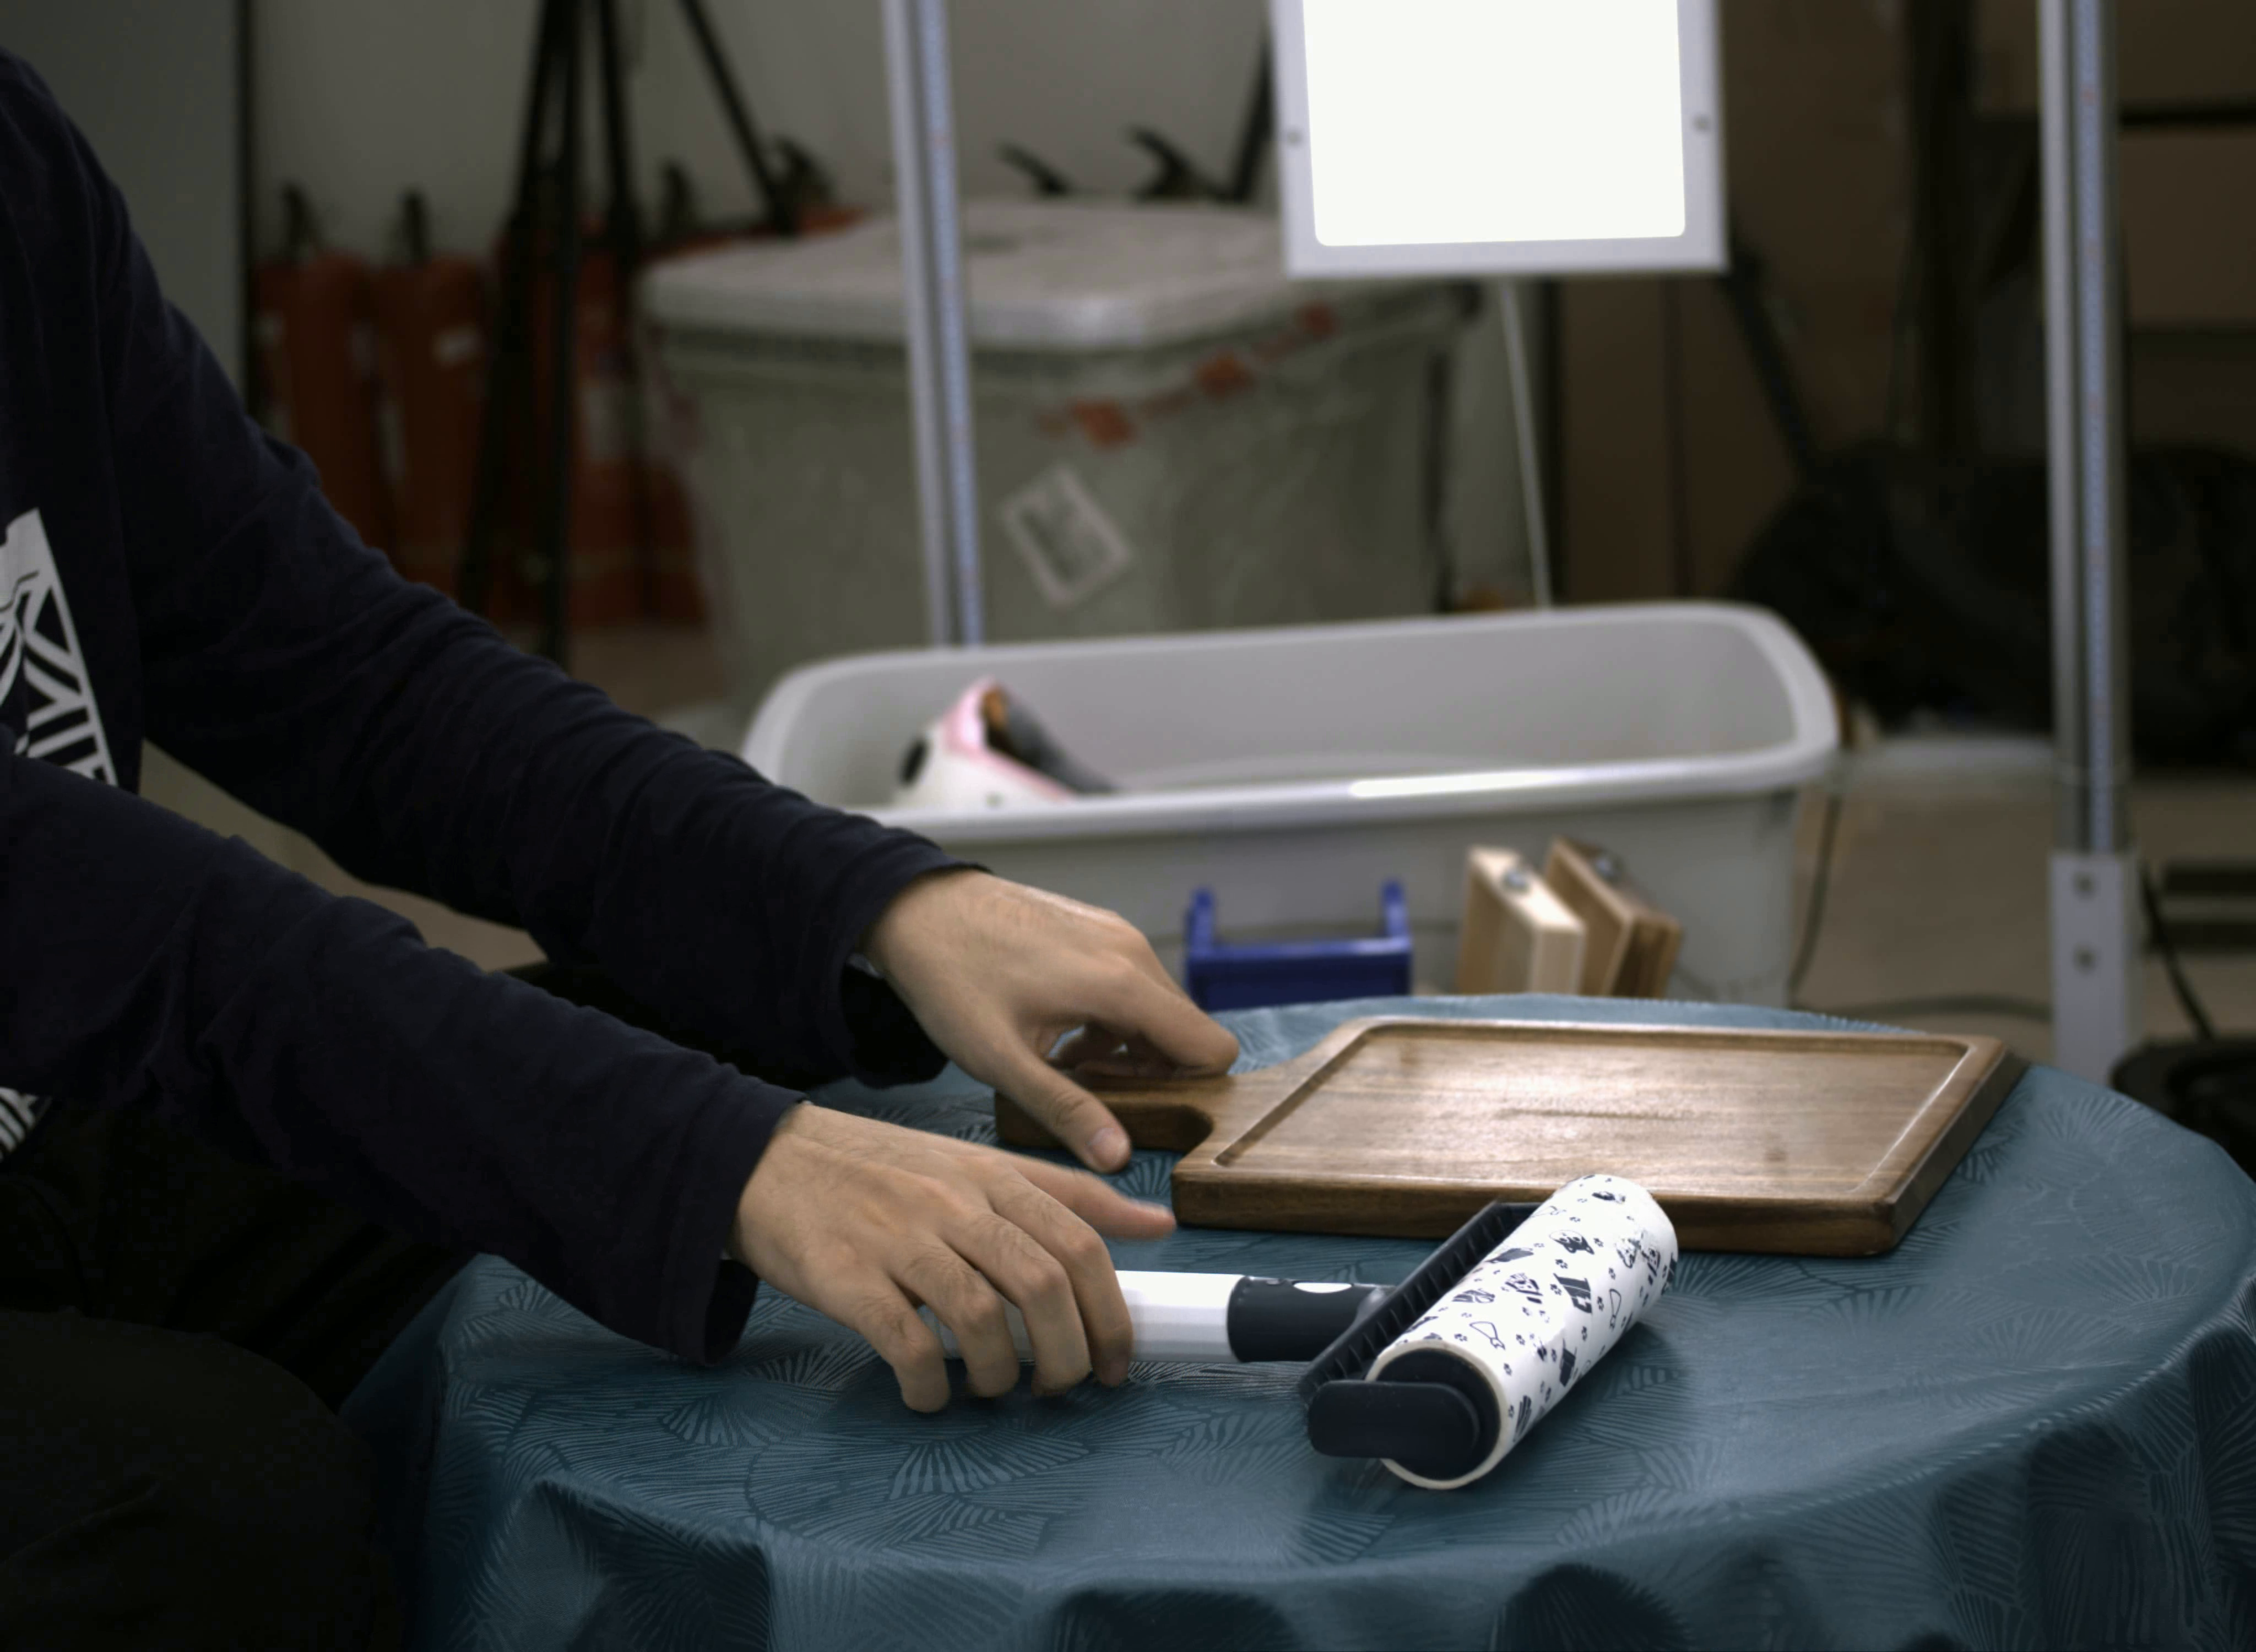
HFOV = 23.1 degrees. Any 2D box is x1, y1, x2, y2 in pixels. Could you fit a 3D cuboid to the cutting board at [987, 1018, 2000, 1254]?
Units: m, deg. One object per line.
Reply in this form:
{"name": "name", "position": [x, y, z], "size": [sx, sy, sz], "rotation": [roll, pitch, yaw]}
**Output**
{"name": "cutting board", "position": [0.116, 0.103, 1.912], "size": [0.357, 0.023, 0.197], "rotation": [1, 14, 23]}

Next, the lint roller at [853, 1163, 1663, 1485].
{"name": "lint roller", "position": [0.025, 0.151, 1.703], "size": [0.251, 0.050, 0.173], "rotation": [-1, 15, 25]}
